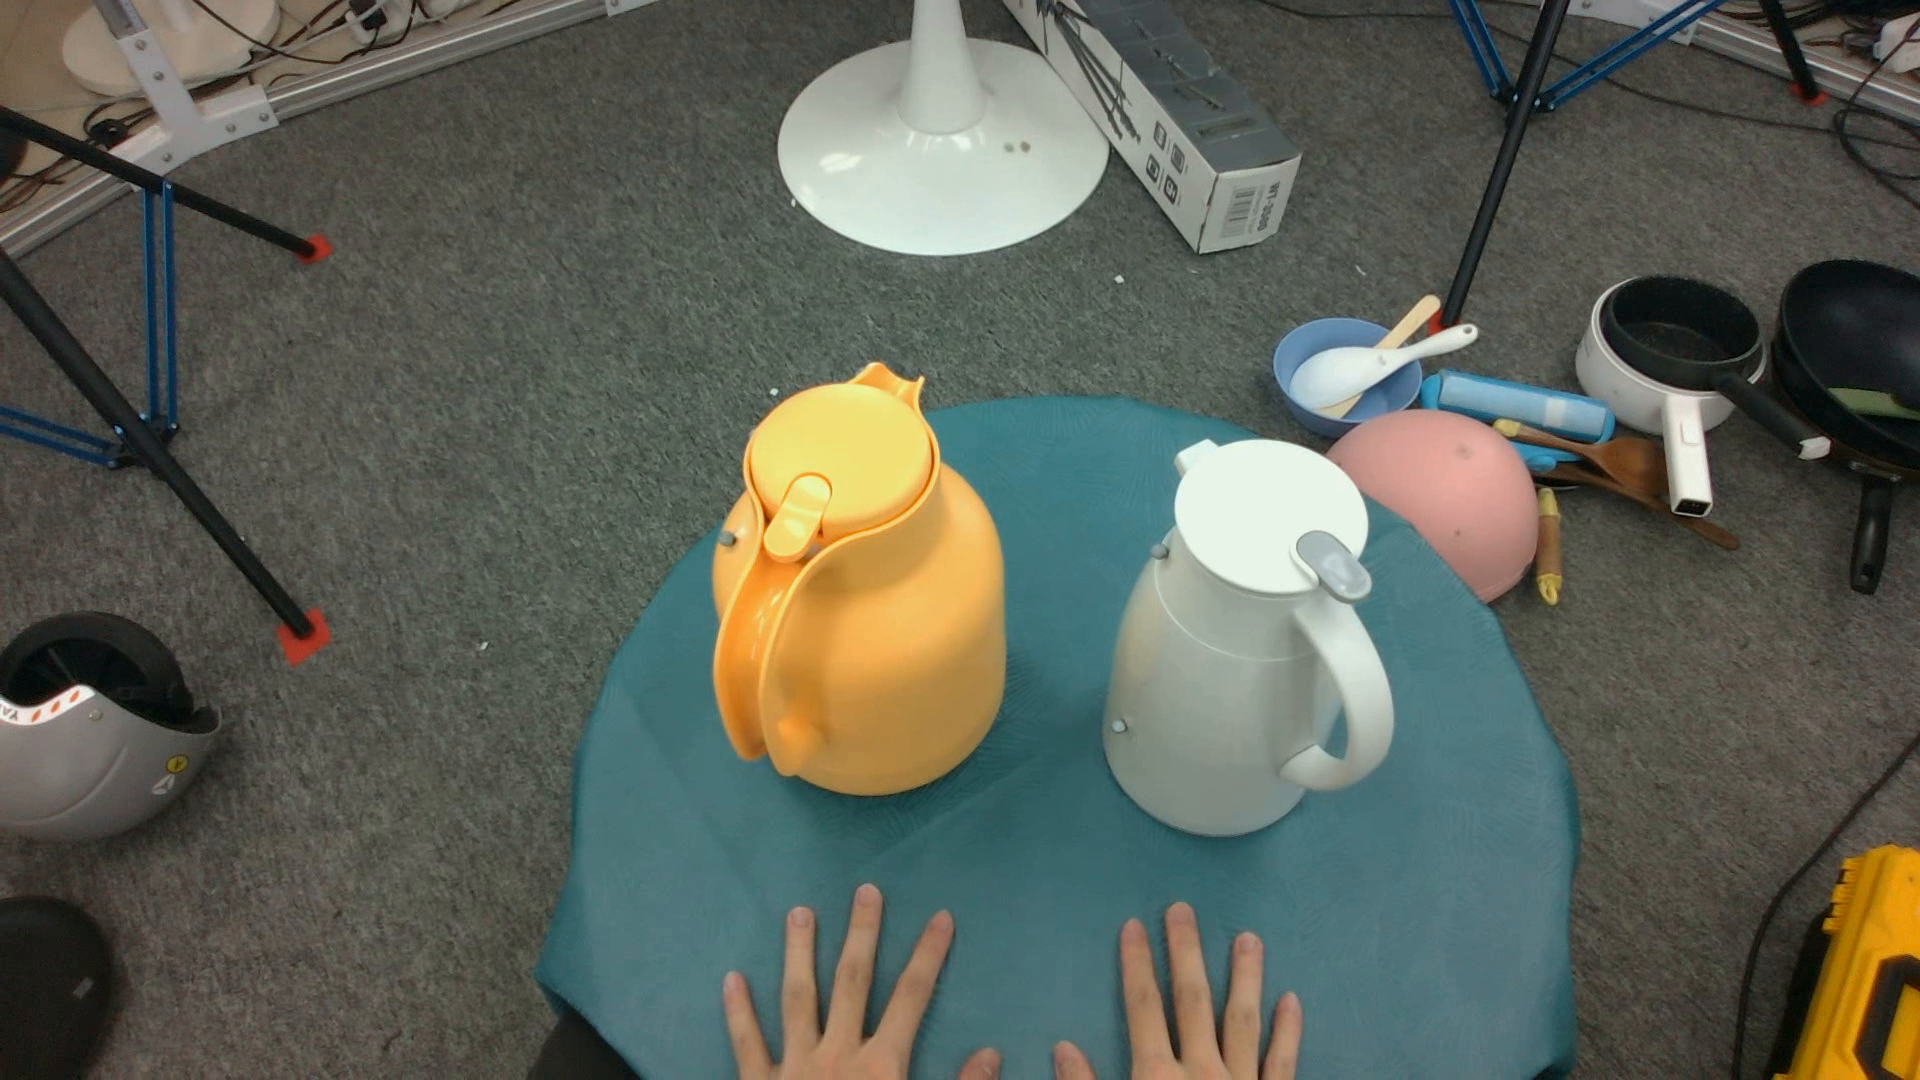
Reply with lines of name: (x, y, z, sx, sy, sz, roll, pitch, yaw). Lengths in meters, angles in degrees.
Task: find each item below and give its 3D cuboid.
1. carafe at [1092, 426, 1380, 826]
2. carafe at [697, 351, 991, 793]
carafe: (0.156, 0.059, 0.745, 0.133, 0.247, 0.168, -27, 59, -17)
carafe: (-0.073, 0.035, 0.758, 0.163, 0.259, 0.203, 20, 56, 16)
